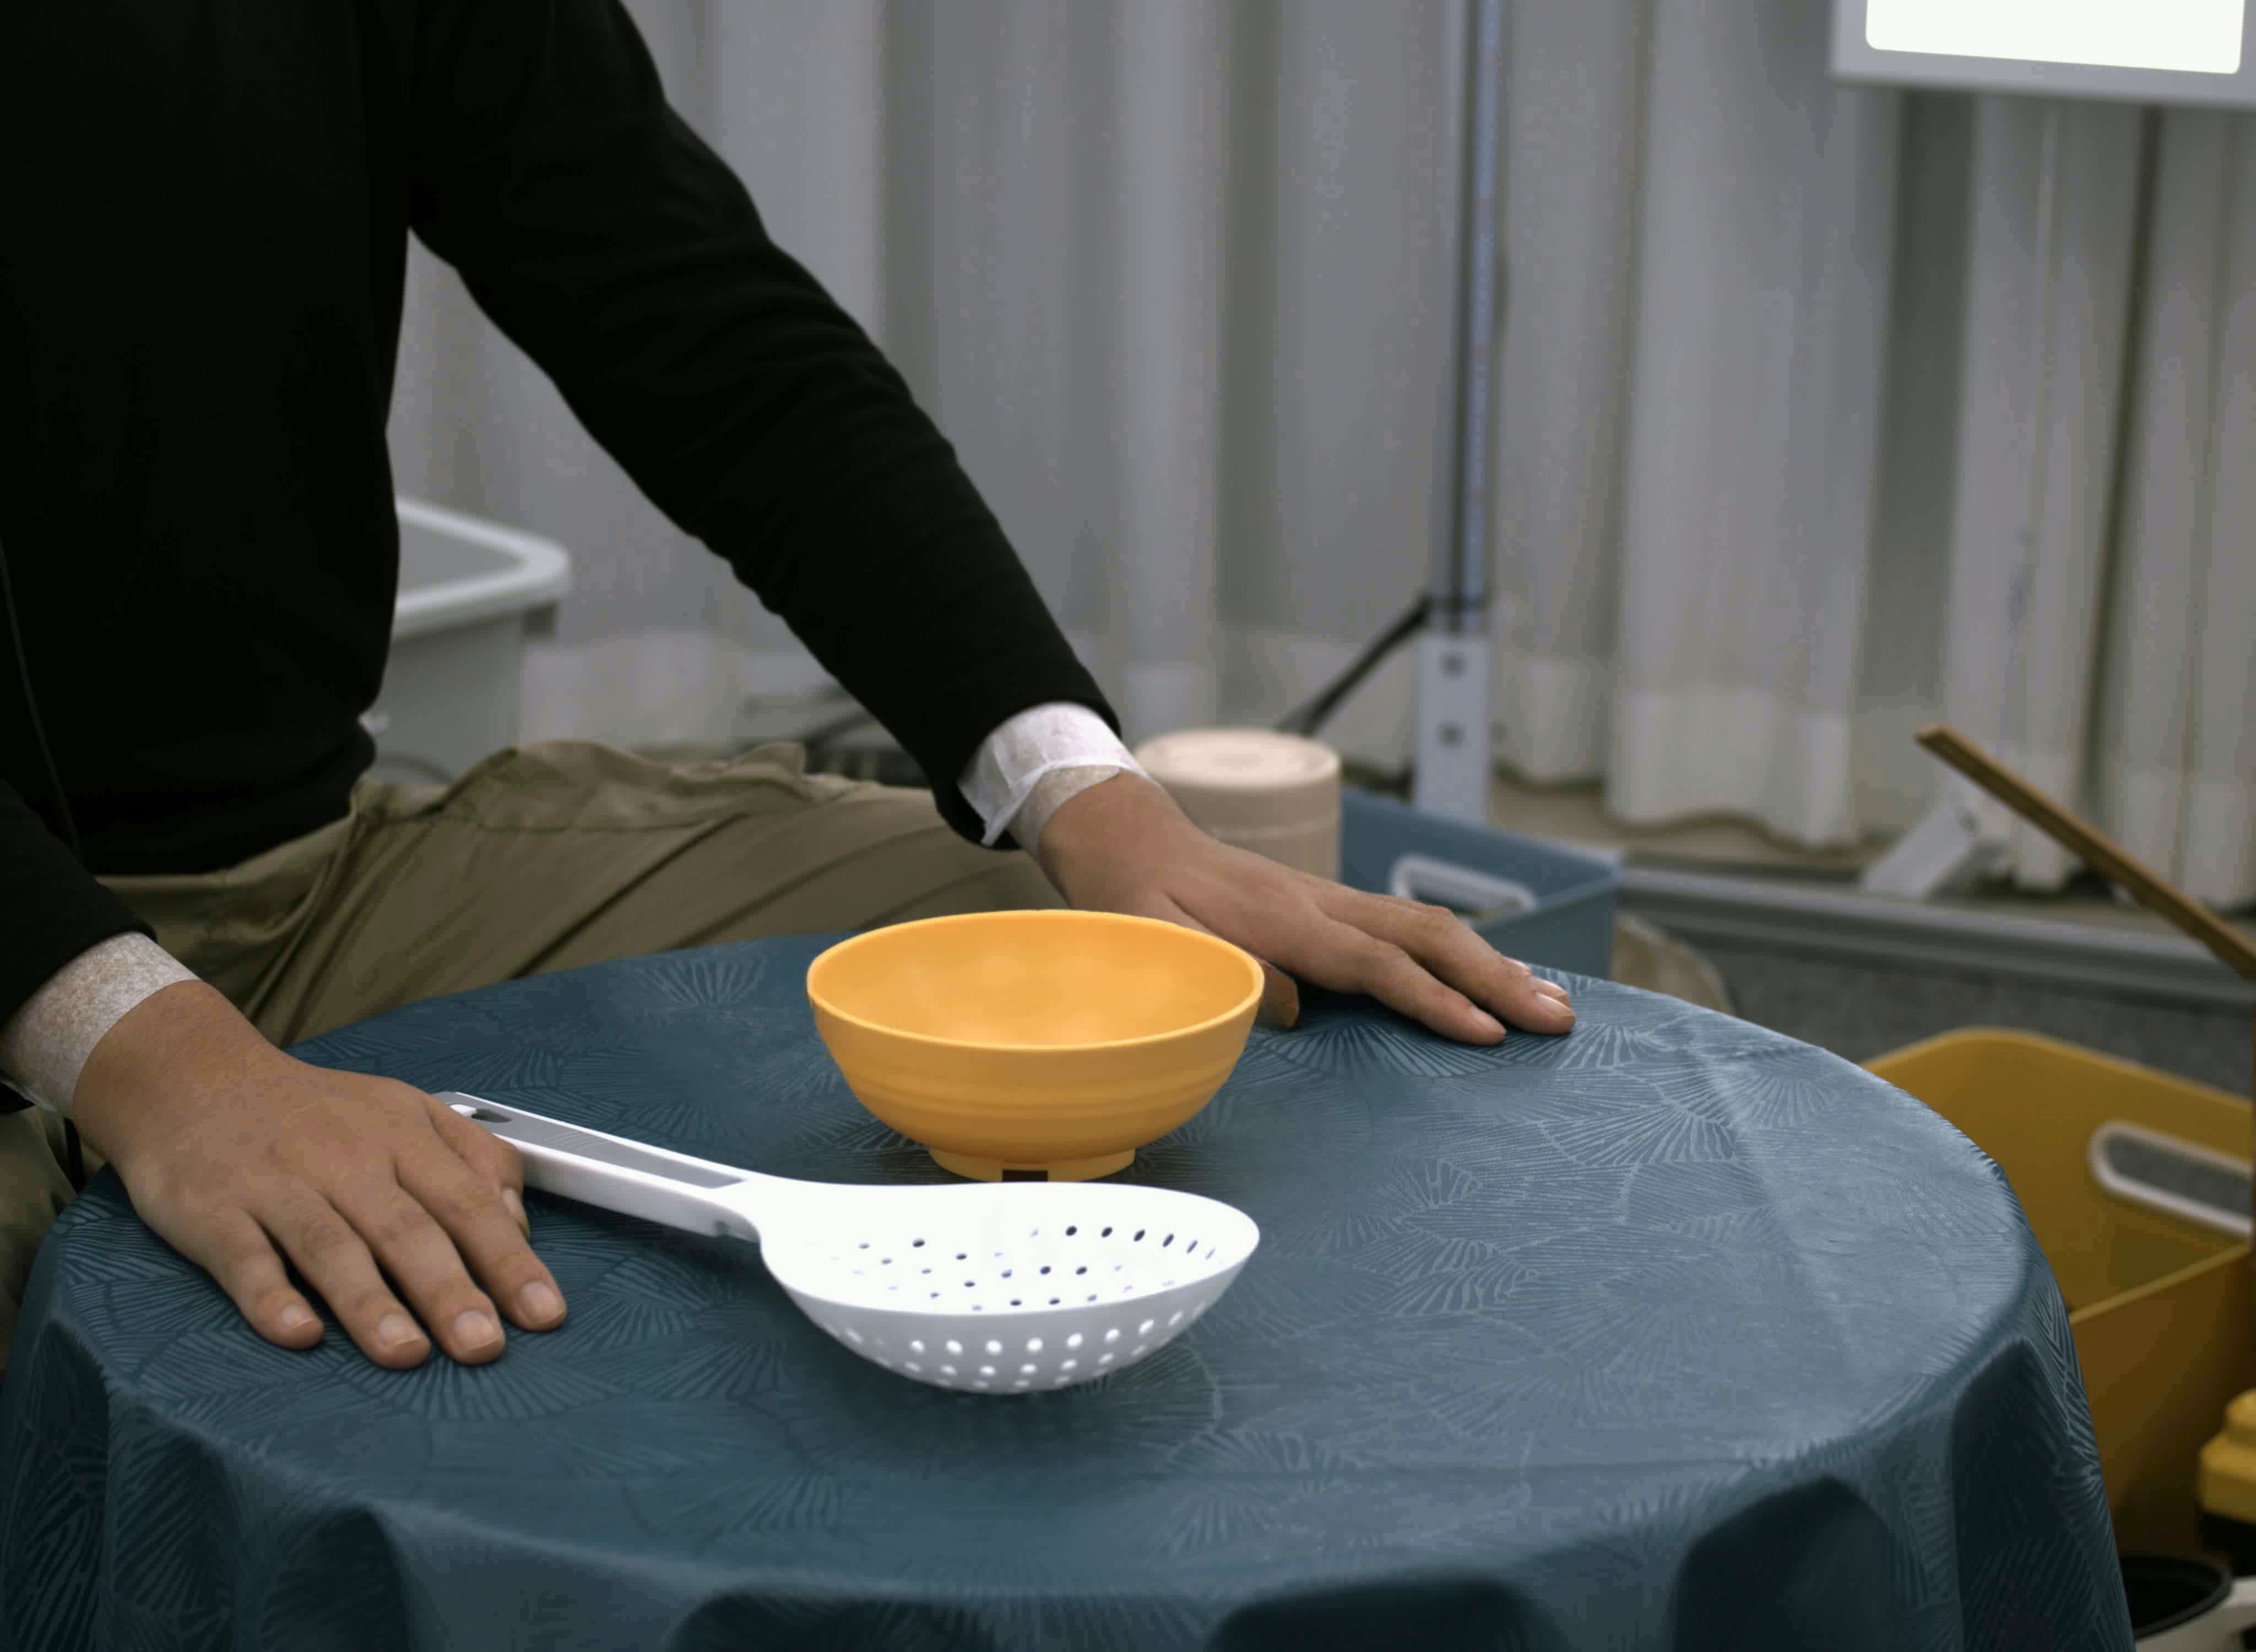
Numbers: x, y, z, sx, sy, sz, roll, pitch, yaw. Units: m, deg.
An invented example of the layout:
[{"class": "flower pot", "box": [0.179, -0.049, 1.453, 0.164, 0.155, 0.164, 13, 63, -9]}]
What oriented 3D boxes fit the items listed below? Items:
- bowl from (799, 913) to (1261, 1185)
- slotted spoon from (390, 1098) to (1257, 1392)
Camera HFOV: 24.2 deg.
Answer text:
[{"class": "bowl", "box": [-0.031, 0.076, 1.648, 0.145, 0.060, 0.144, 3, 15, 0]}, {"class": "slotted spoon", "box": [-0.105, 0.112, 1.533, 0.137, 0.046, 0.345, -13, 20, -42]}]
